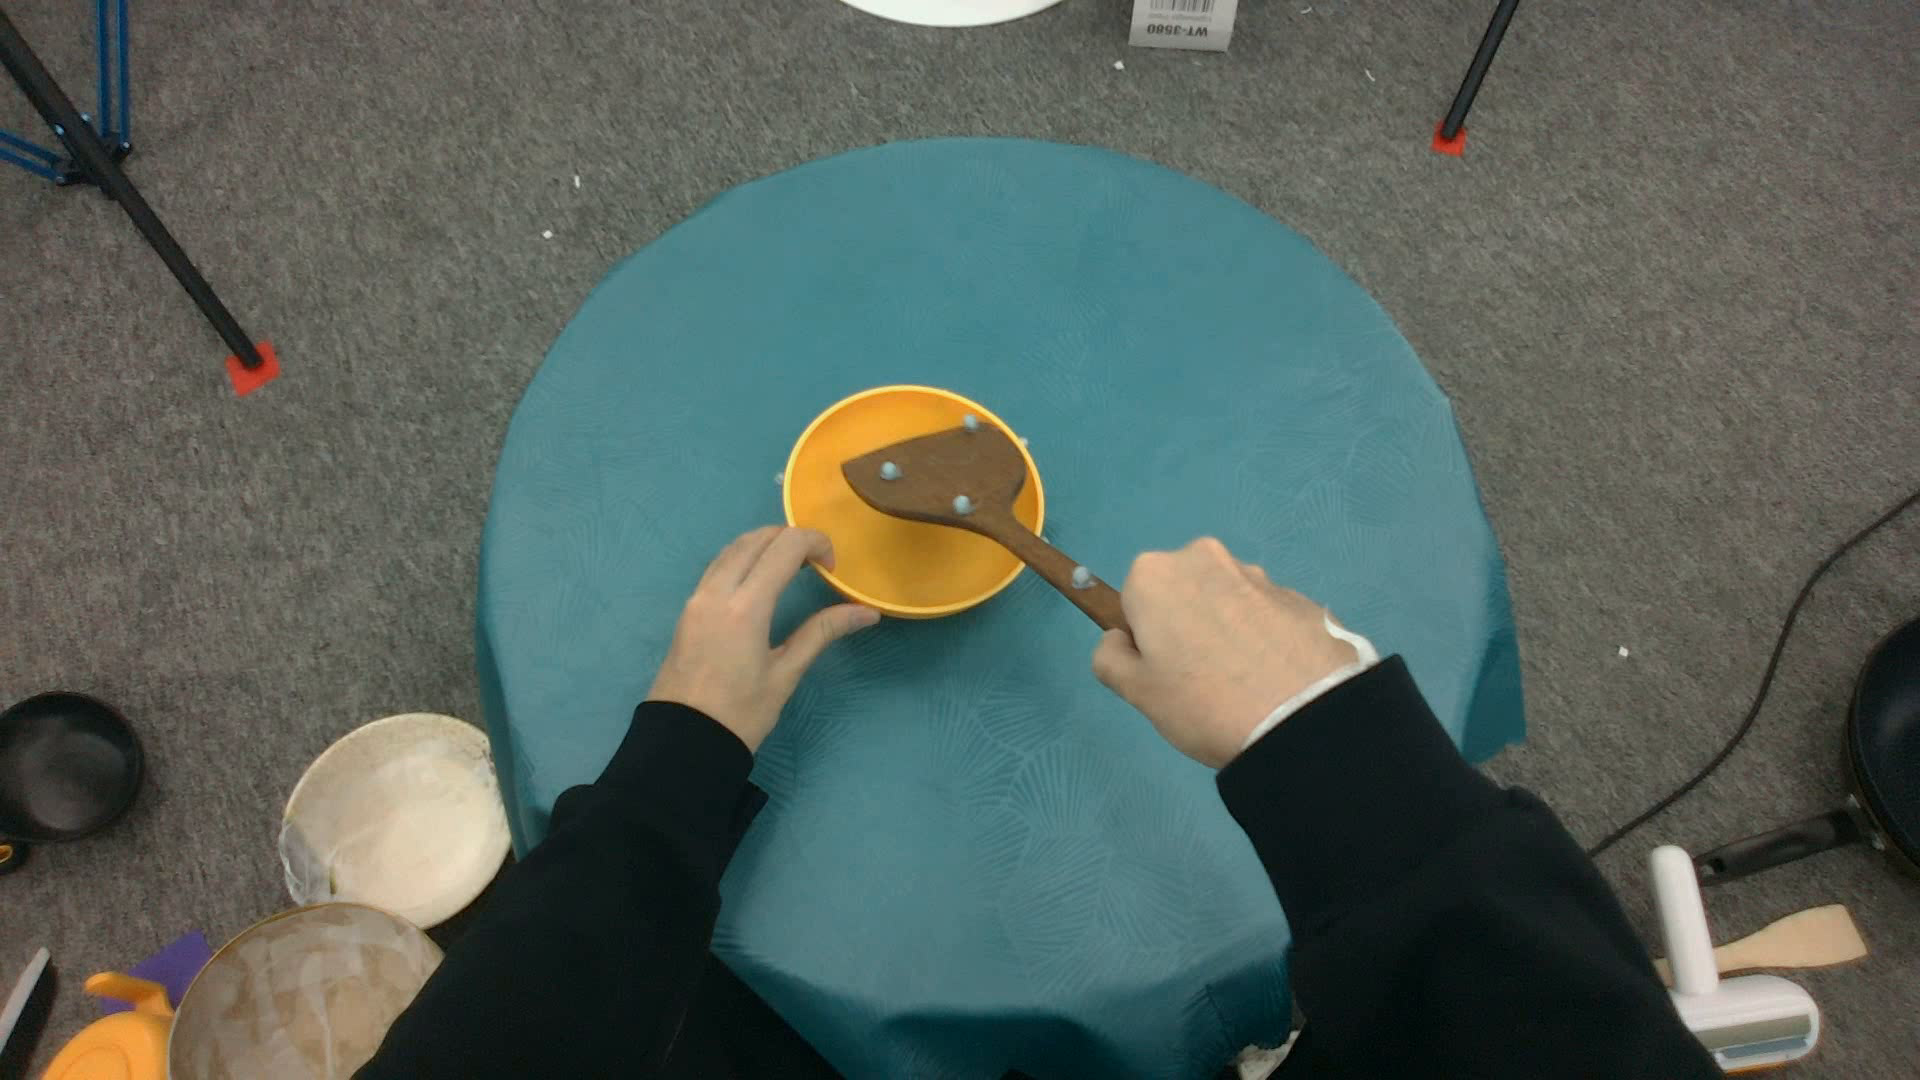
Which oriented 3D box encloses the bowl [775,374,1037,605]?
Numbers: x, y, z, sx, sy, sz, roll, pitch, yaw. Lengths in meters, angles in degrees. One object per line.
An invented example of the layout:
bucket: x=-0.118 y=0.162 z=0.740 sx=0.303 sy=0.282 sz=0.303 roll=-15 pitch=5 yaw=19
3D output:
bowl: x=-0.032 y=-0.019 z=0.783 sx=0.145 sy=0.060 sz=0.146 roll=3 pitch=62 yaw=-6

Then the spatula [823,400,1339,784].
spatula: x=0.042 y=0.005 z=0.621 sx=0.096 sy=0.016 sz=0.386 roll=-18 pitch=28 yaw=-19
